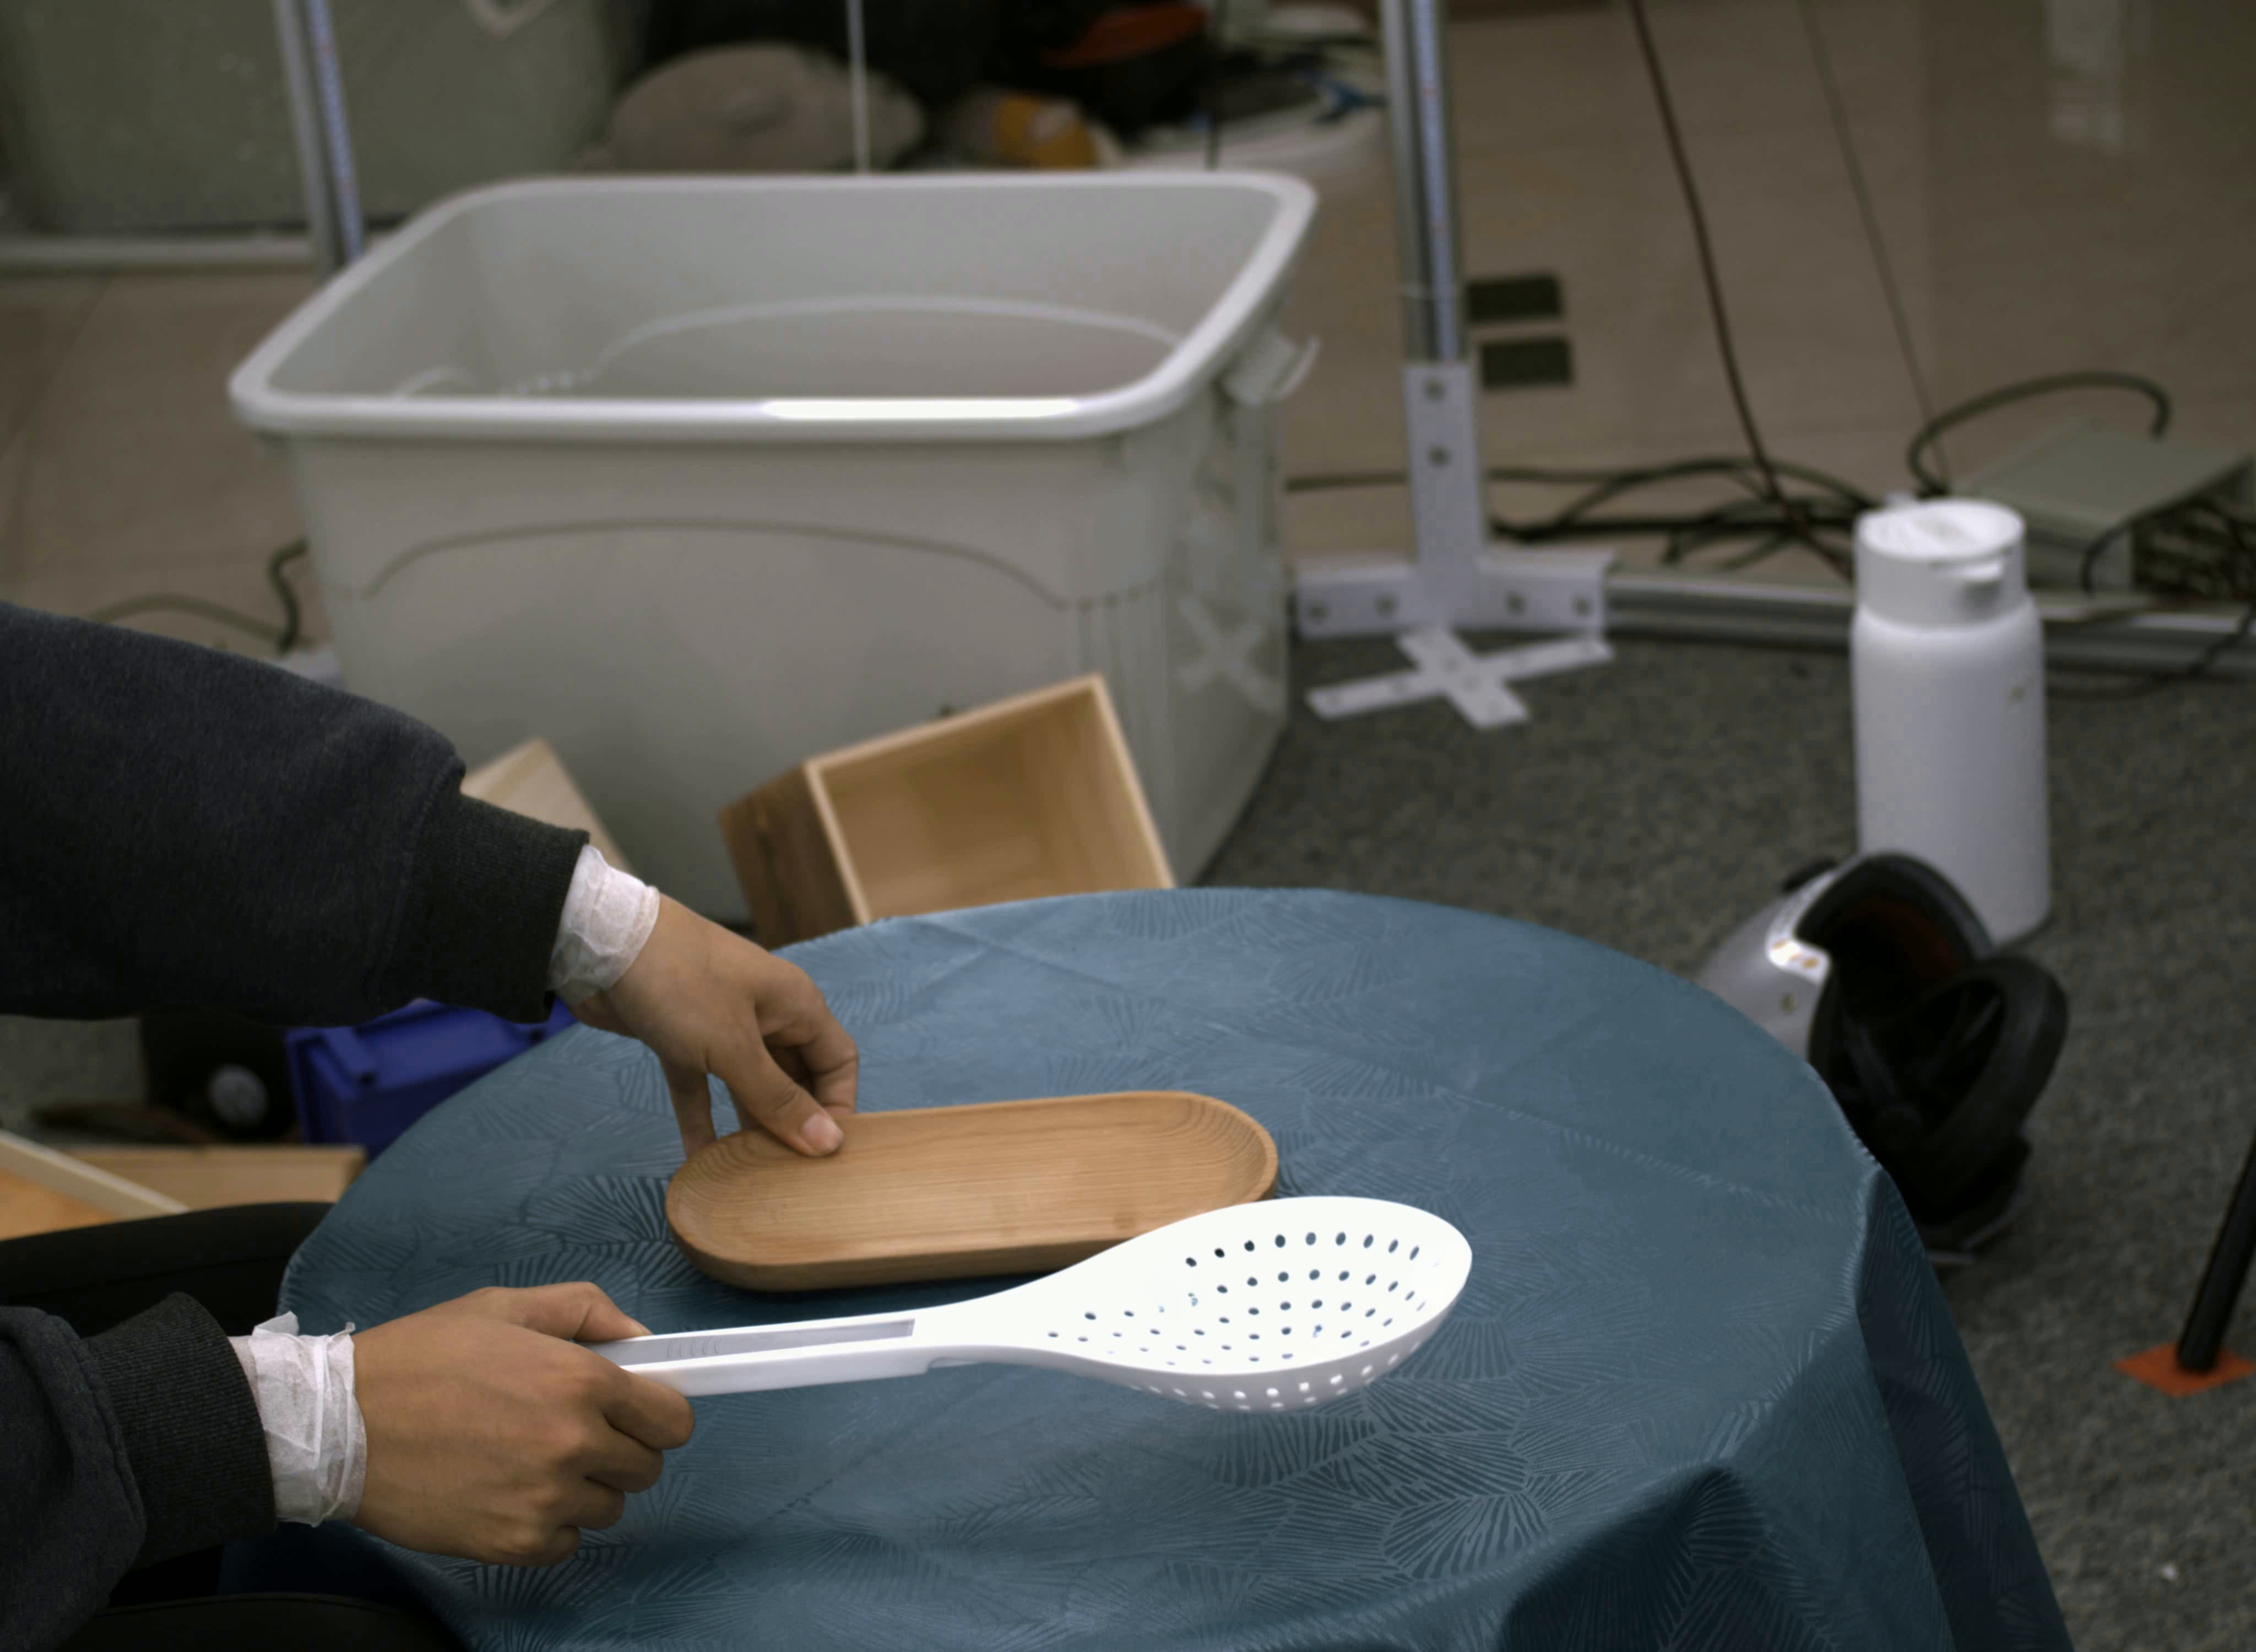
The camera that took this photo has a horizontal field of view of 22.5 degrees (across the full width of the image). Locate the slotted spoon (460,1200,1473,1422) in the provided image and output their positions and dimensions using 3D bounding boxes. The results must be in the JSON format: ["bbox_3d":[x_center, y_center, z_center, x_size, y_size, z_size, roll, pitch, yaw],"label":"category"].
[{"bbox_3d":[-0.056,0.174,1.938,0.349,0.046,0.134,-2,20,4],"label":"slotted spoon"}]

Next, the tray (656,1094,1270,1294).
[{"bbox_3d":[-0.062,0.139,2.128,0.231,0.020,0.100,-6,28,-3],"label":"tray"}]
